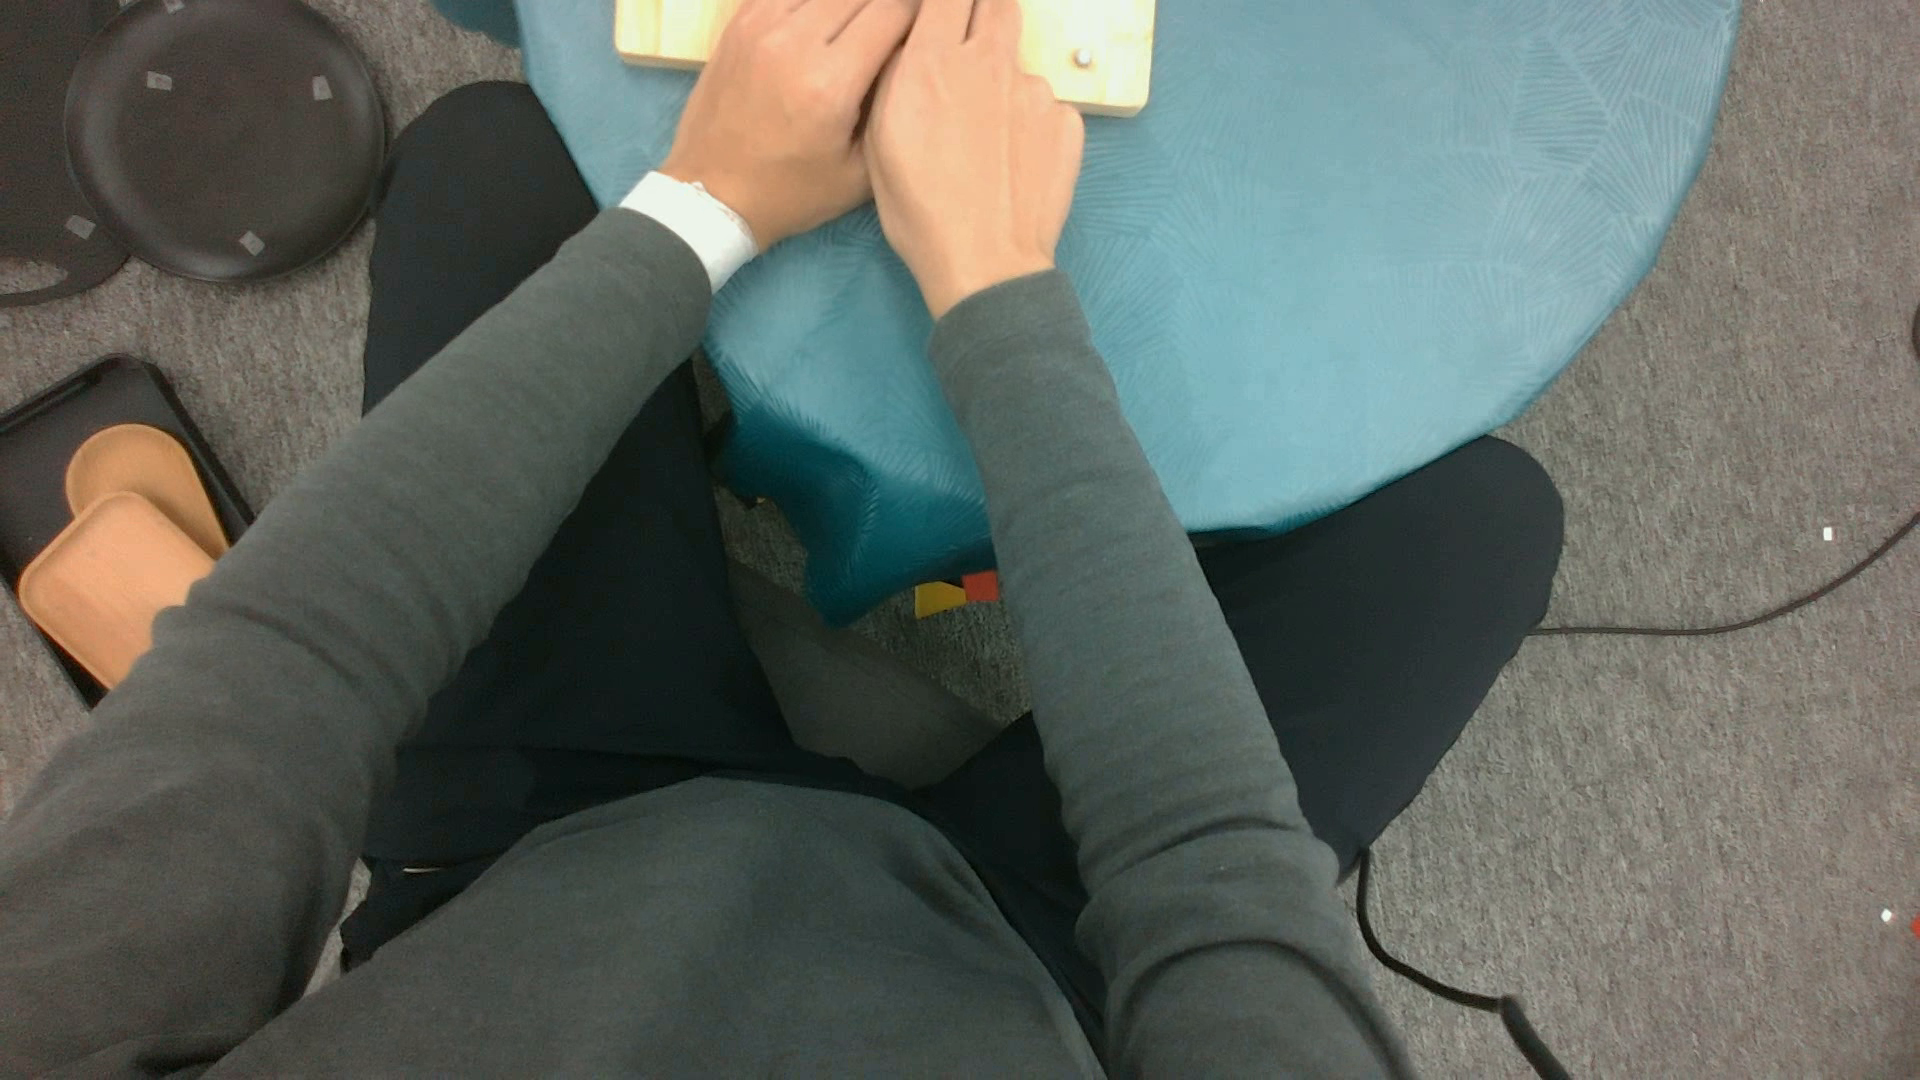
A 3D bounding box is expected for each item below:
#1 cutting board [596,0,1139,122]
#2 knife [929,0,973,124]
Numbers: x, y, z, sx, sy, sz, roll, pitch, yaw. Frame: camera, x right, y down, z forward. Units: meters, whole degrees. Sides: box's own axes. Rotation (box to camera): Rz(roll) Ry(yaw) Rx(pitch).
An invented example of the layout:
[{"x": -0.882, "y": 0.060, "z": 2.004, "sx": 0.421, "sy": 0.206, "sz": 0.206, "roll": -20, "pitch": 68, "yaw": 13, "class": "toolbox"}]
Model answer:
[{"x": -0.029, "y": -0.376, "z": 0.625, "sx": 0.251, "sy": 0.023, "sz": 0.348, "roll": 3, "pitch": 92, "yaw": -7, "class": "cutting board"}, {"x": -0.010, "y": -0.300, "z": 0.596, "sx": 0.016, "sy": 0.024, "sz": 0.238, "roll": -3, "pitch": 88, "yaw": -10, "class": "knife"}]
